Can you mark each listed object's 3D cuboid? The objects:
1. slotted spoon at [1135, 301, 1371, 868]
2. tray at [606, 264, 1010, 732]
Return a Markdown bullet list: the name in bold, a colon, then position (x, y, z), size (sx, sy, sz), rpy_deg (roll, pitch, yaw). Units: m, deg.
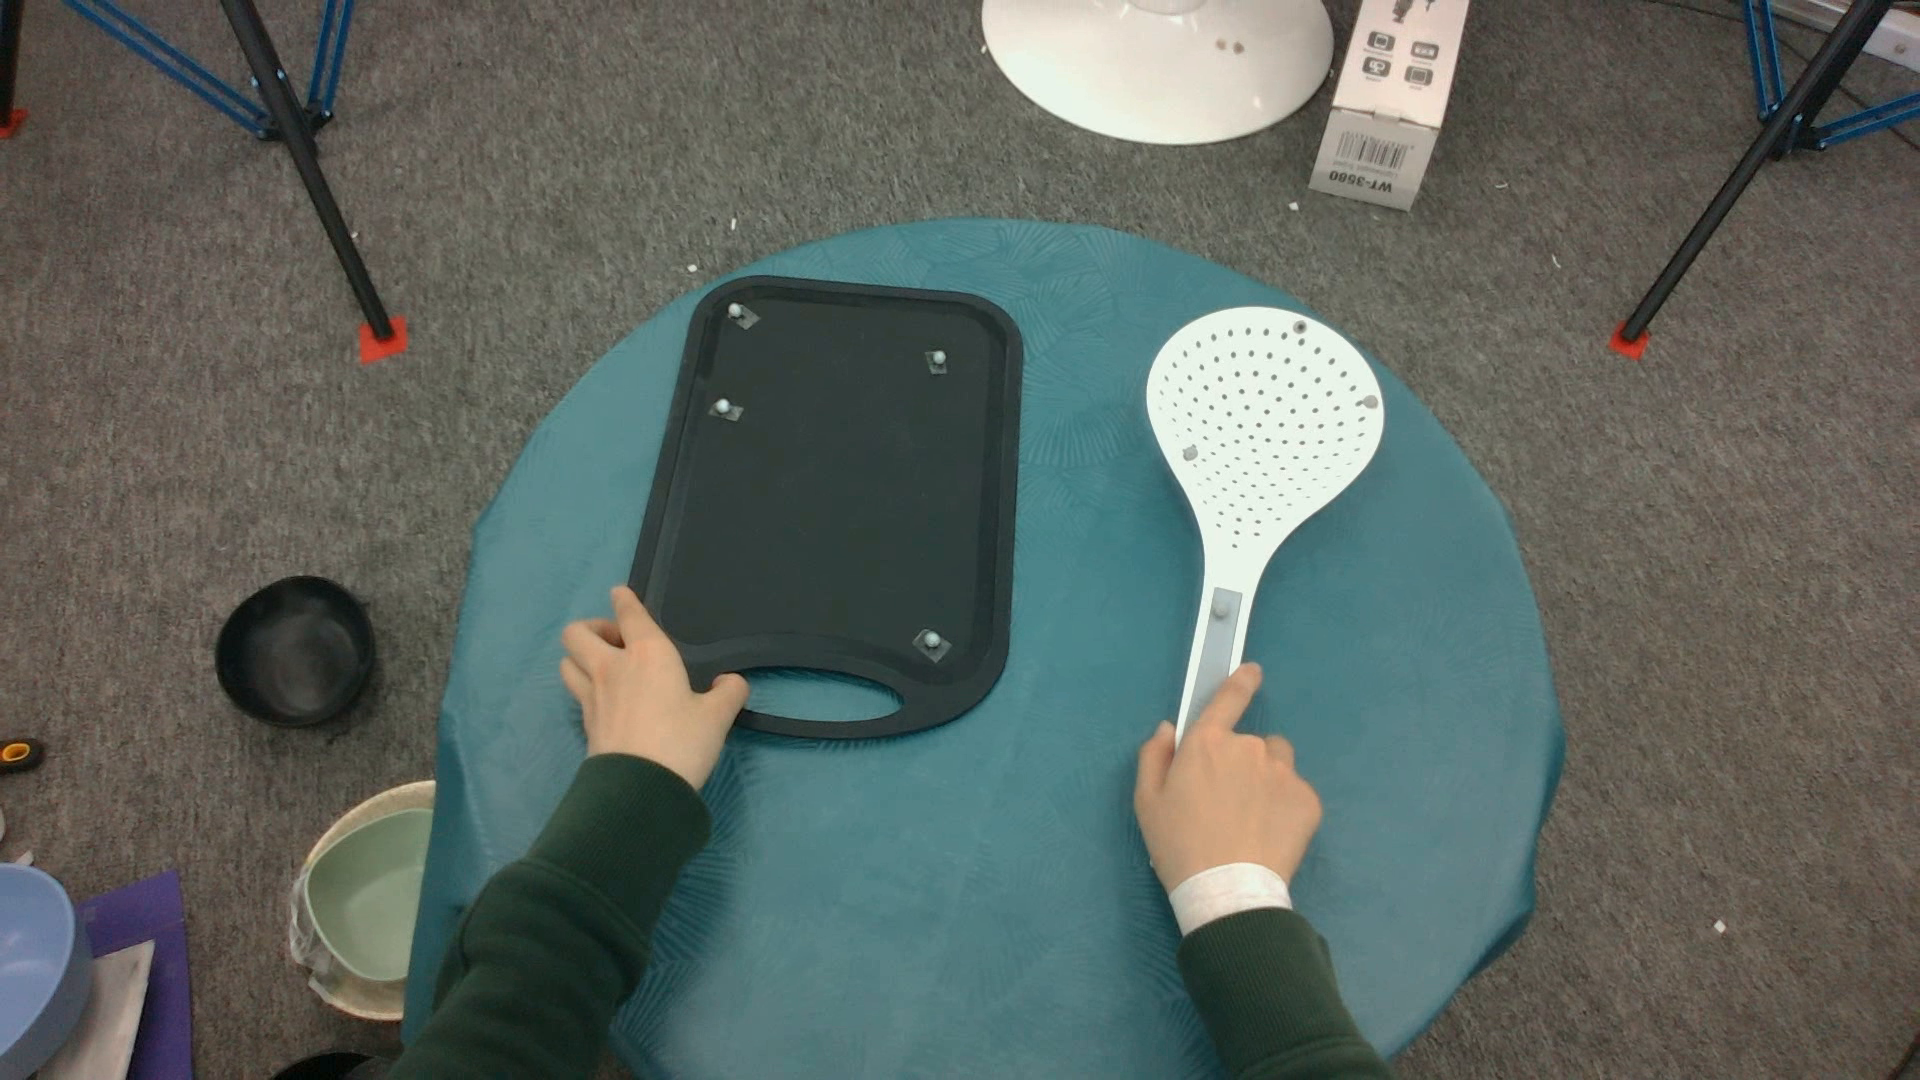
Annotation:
- **slotted spoon**: position (0.144, 0.011, 0.760), size (0.136, 0.045, 0.351), rpy_deg (13, 58, 7)
- **tray**: position (-0.079, -0.038, 0.796), size (0.211, 0.010, 0.327), rpy_deg (5, 56, -2)
